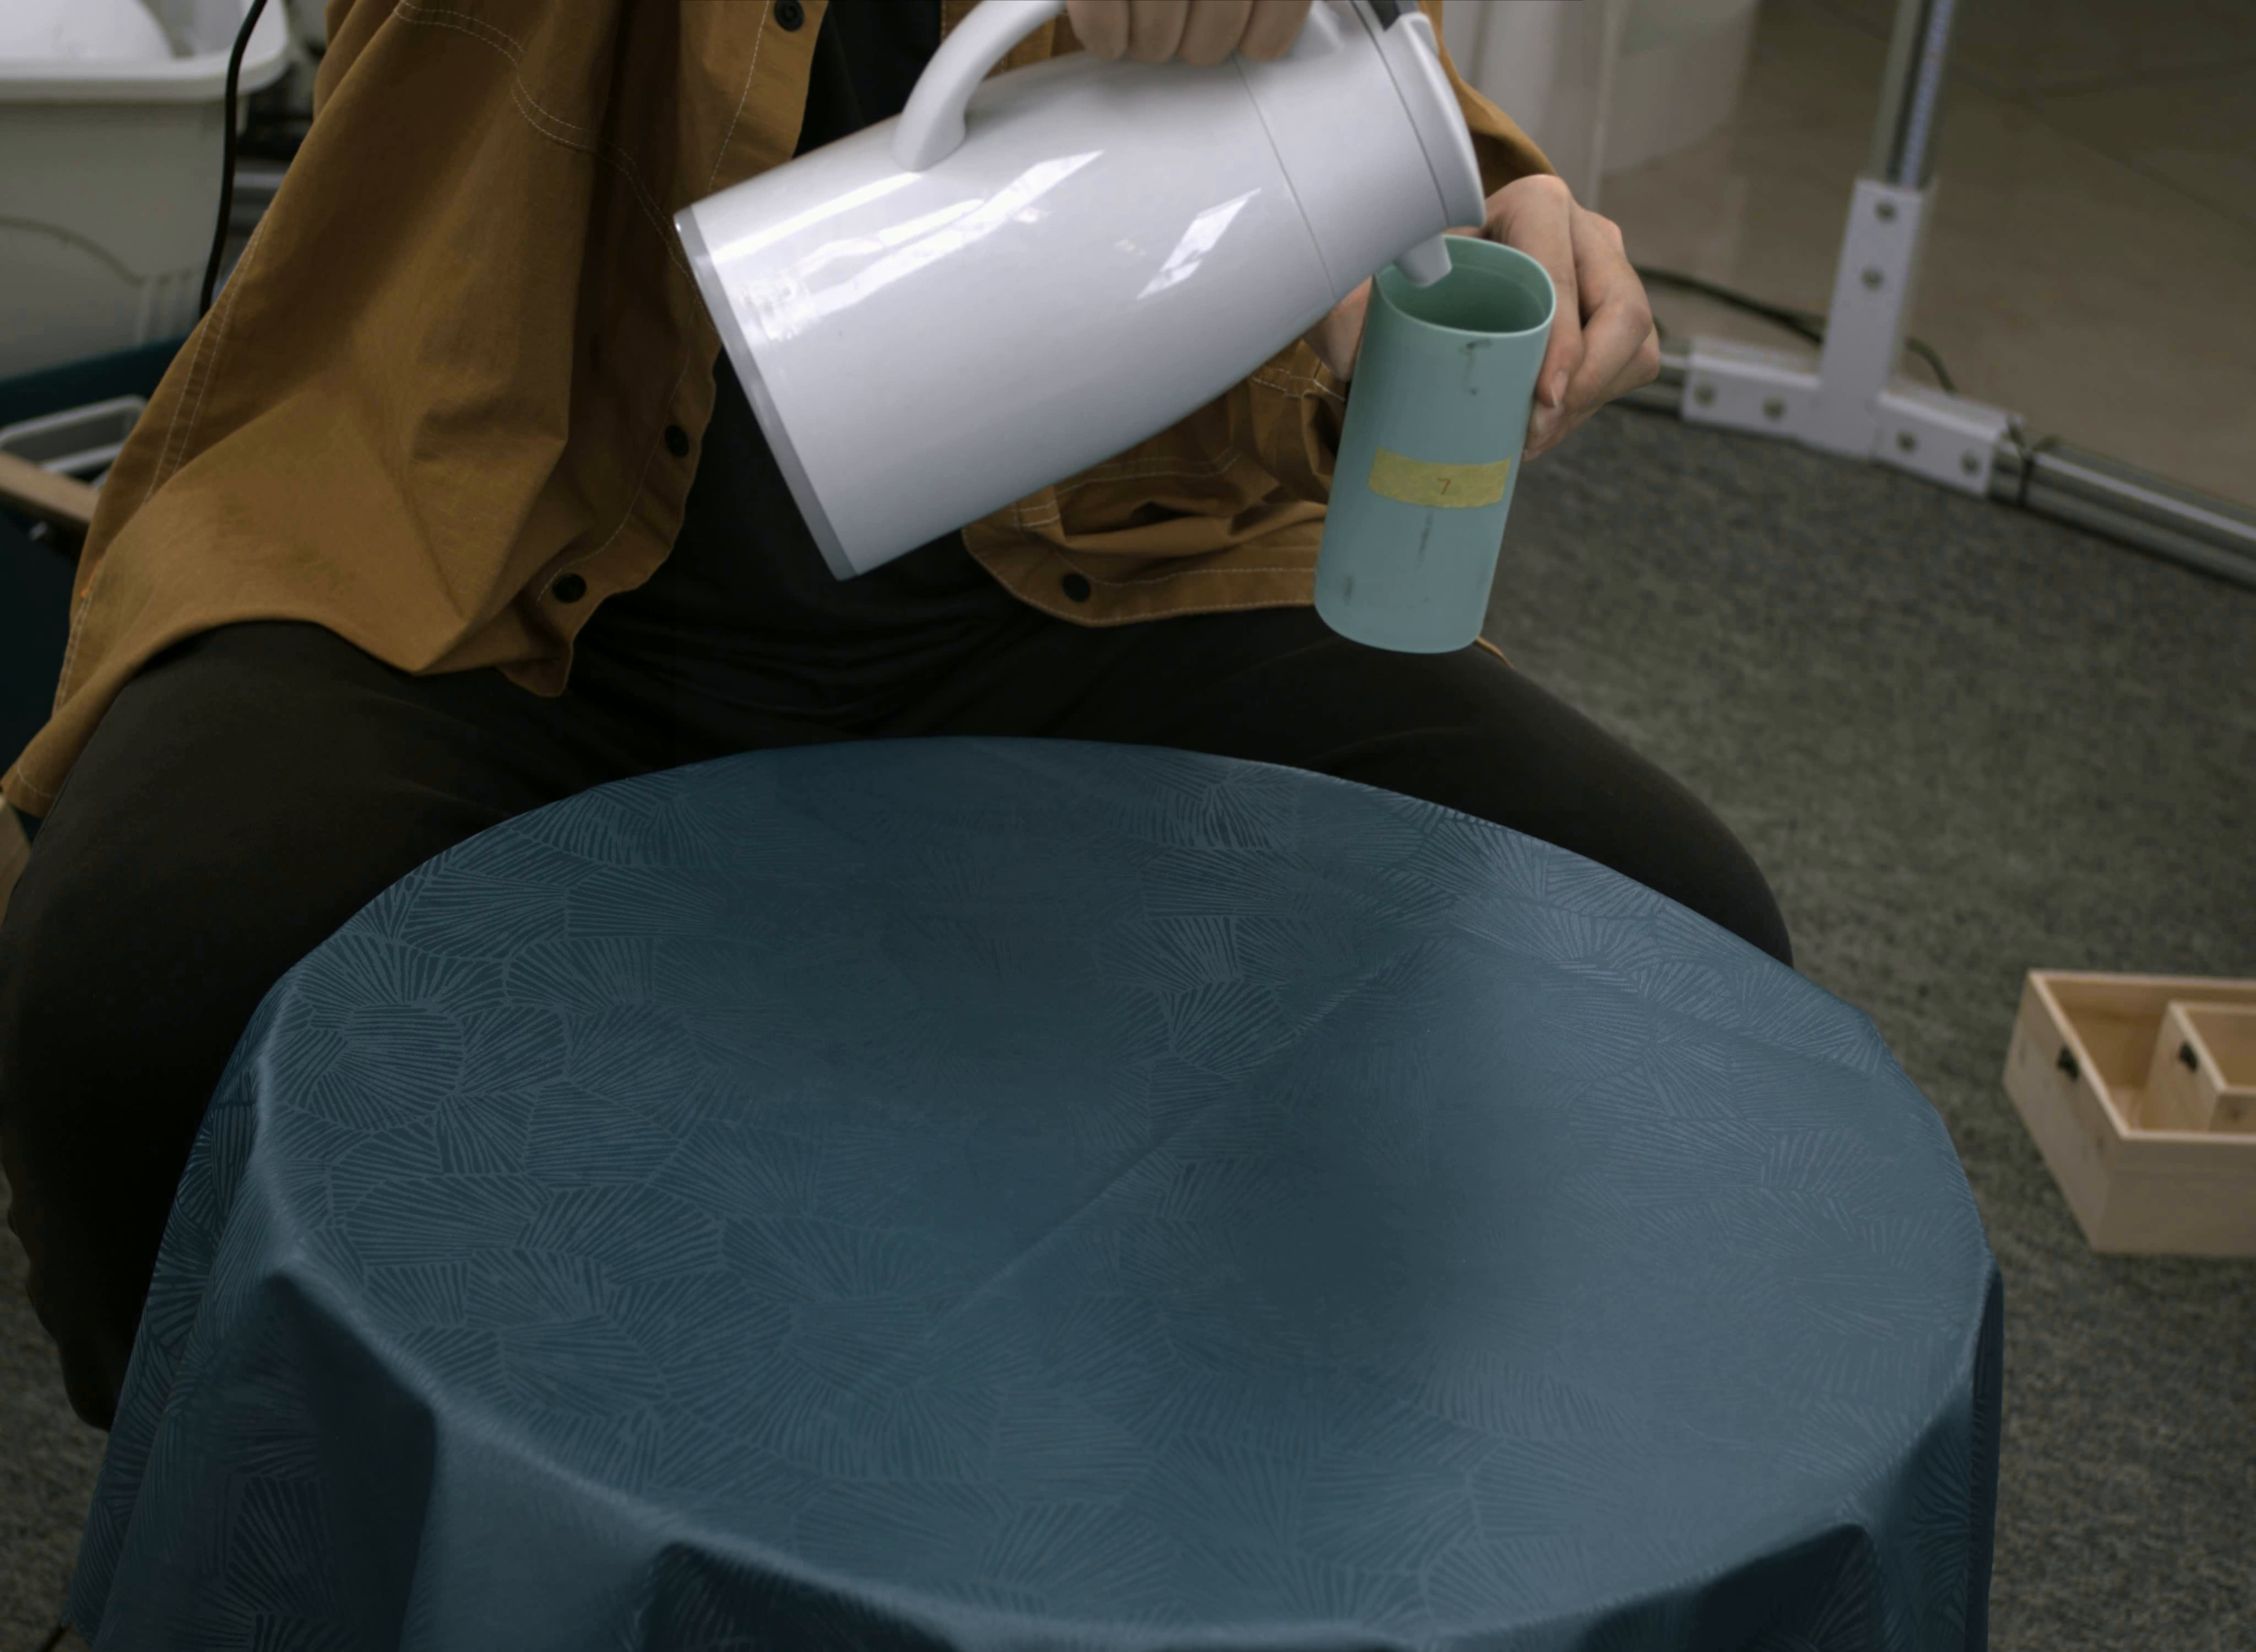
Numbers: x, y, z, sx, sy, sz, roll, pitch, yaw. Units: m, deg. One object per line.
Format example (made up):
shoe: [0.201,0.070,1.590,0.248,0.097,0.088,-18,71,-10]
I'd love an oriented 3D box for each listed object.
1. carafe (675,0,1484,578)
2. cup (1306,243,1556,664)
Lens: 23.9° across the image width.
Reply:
carafe: [-0.015,-0.203,1.720,0.248,0.166,0.134,-25,41,2]
cup: [0.102,-0.128,1.816,0.066,0.132,0.067,7,36,-6]
